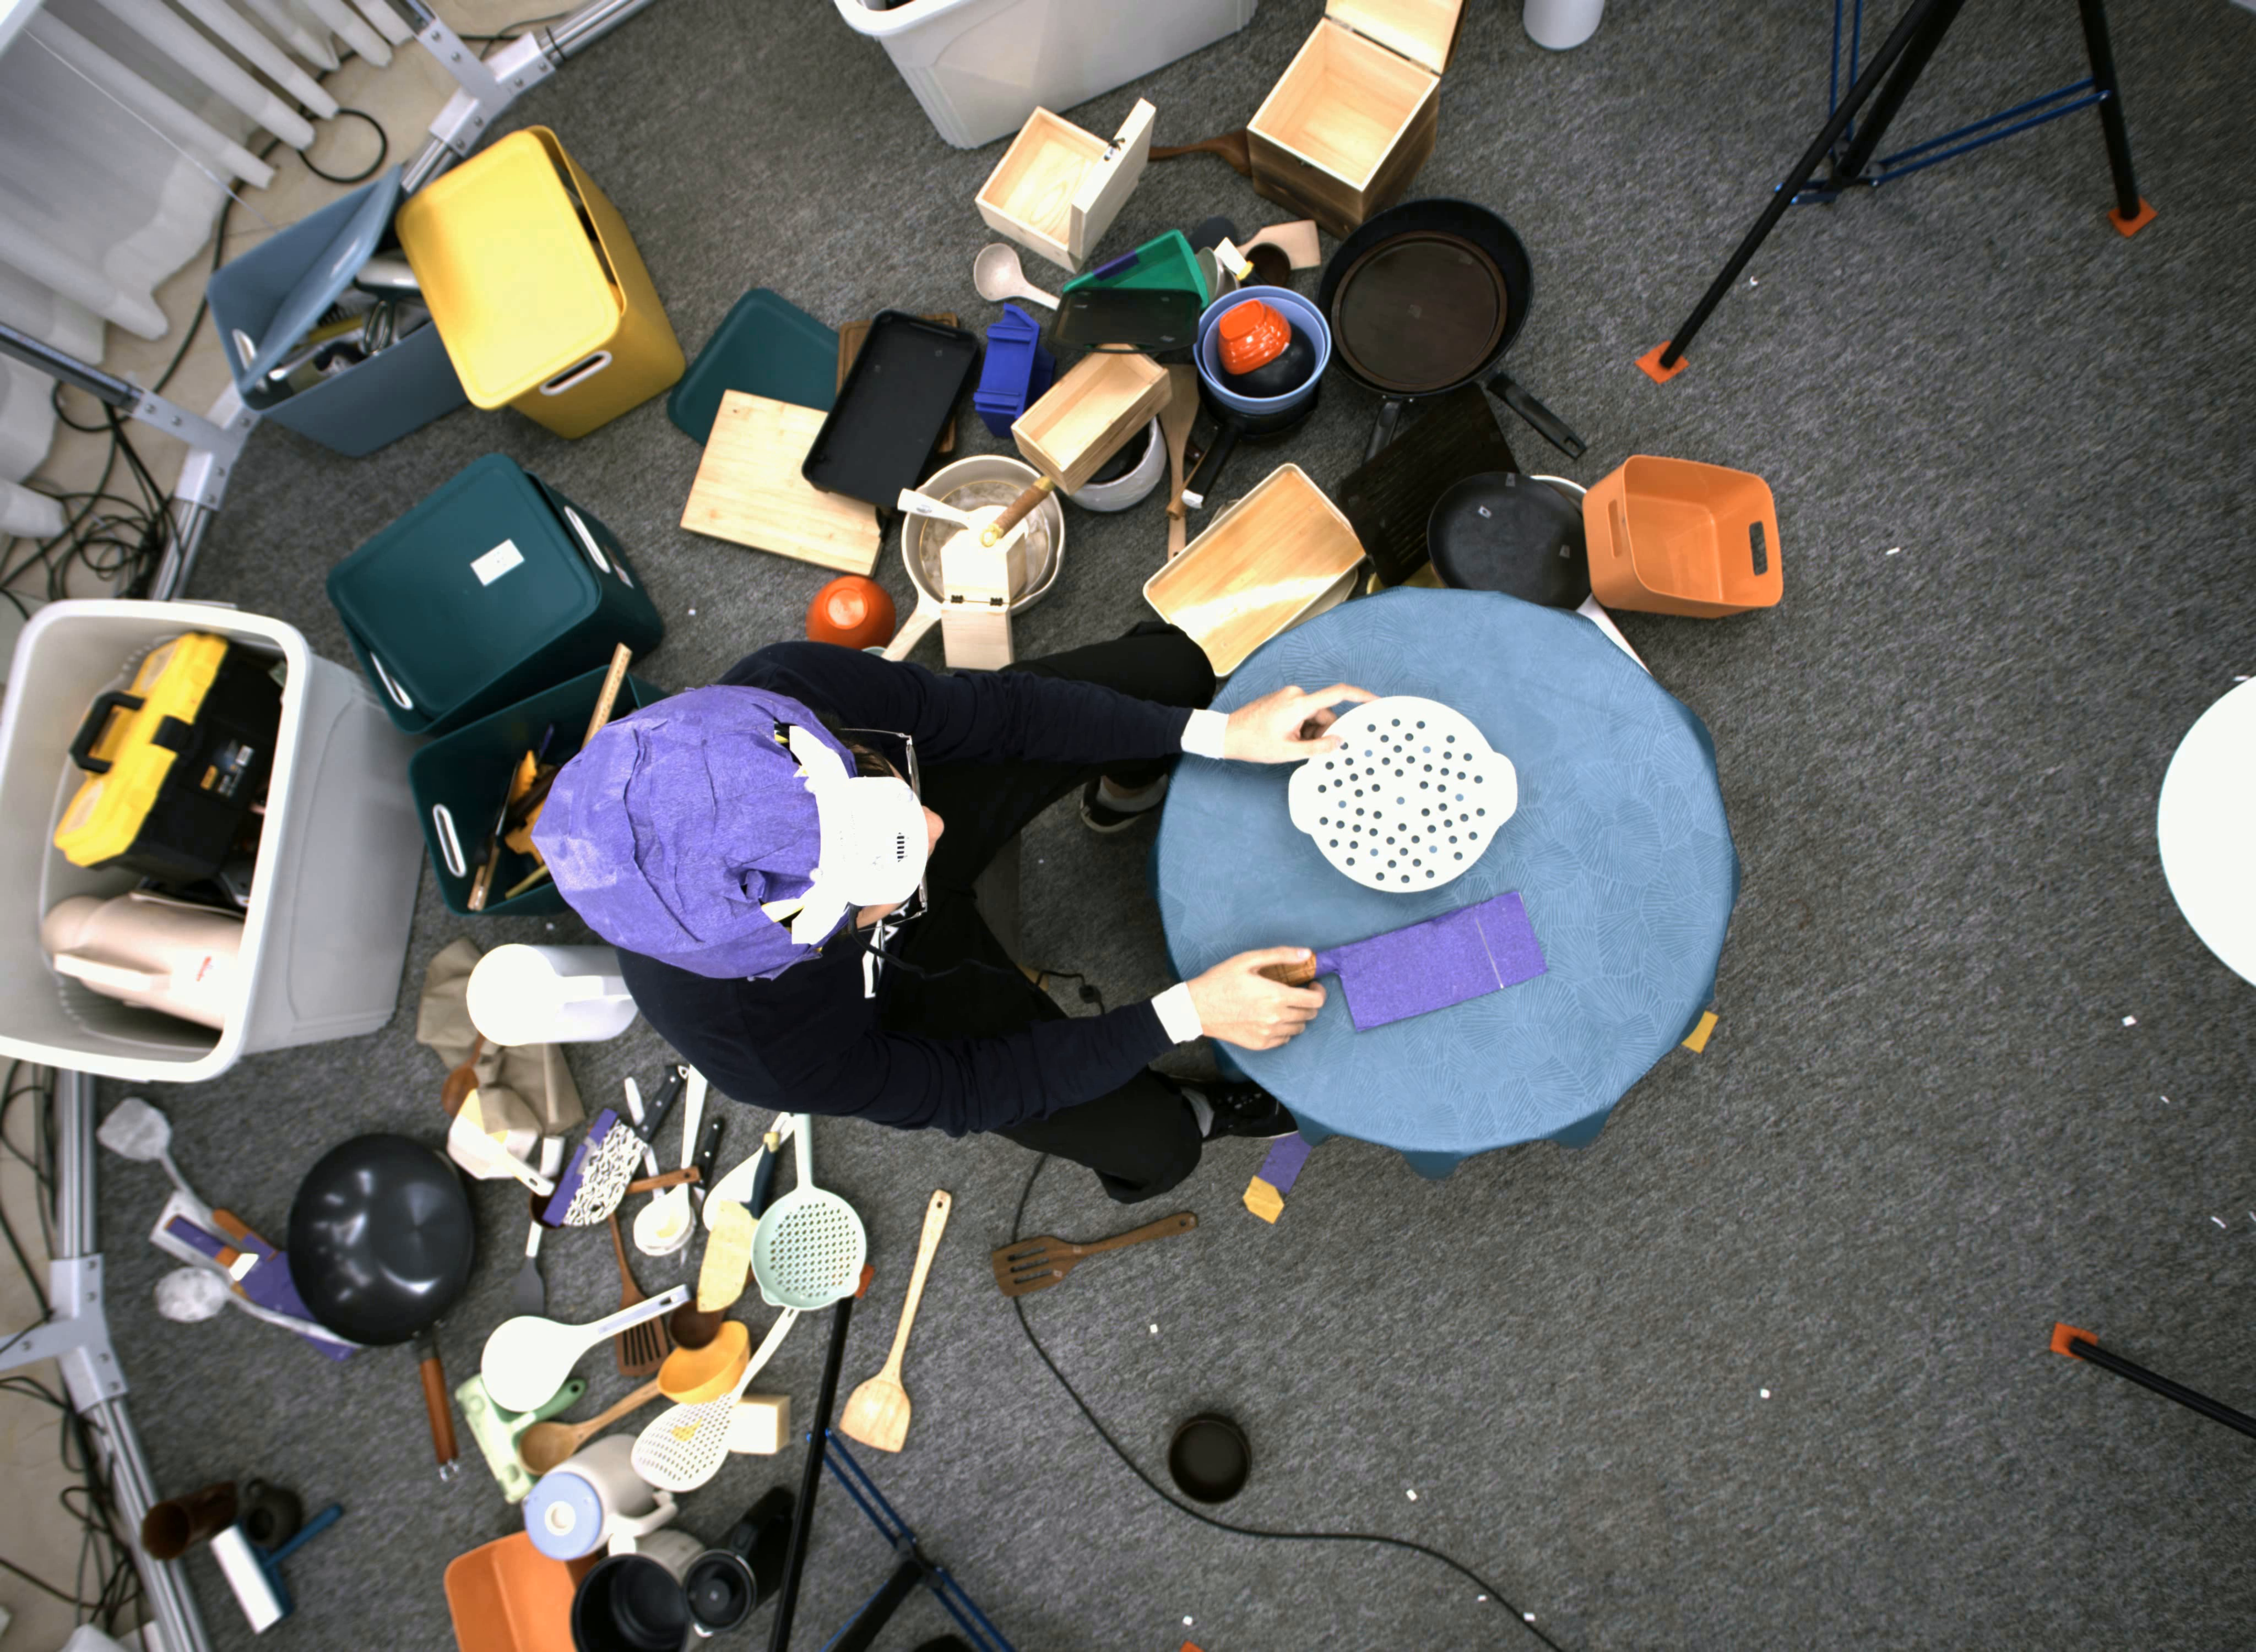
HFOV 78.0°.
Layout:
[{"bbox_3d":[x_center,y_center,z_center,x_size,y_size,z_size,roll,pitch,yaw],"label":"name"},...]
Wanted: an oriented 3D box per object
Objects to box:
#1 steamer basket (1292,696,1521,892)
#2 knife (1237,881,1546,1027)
[{"bbox_3d":[0.289,-0.032,1.430,0.232,0.069,0.201,-3,85,13],"label":"steamer basket"},{"bbox_3d":[0.275,0.152,1.441,0.317,0.032,0.103,-19,83,9],"label":"knife"}]
